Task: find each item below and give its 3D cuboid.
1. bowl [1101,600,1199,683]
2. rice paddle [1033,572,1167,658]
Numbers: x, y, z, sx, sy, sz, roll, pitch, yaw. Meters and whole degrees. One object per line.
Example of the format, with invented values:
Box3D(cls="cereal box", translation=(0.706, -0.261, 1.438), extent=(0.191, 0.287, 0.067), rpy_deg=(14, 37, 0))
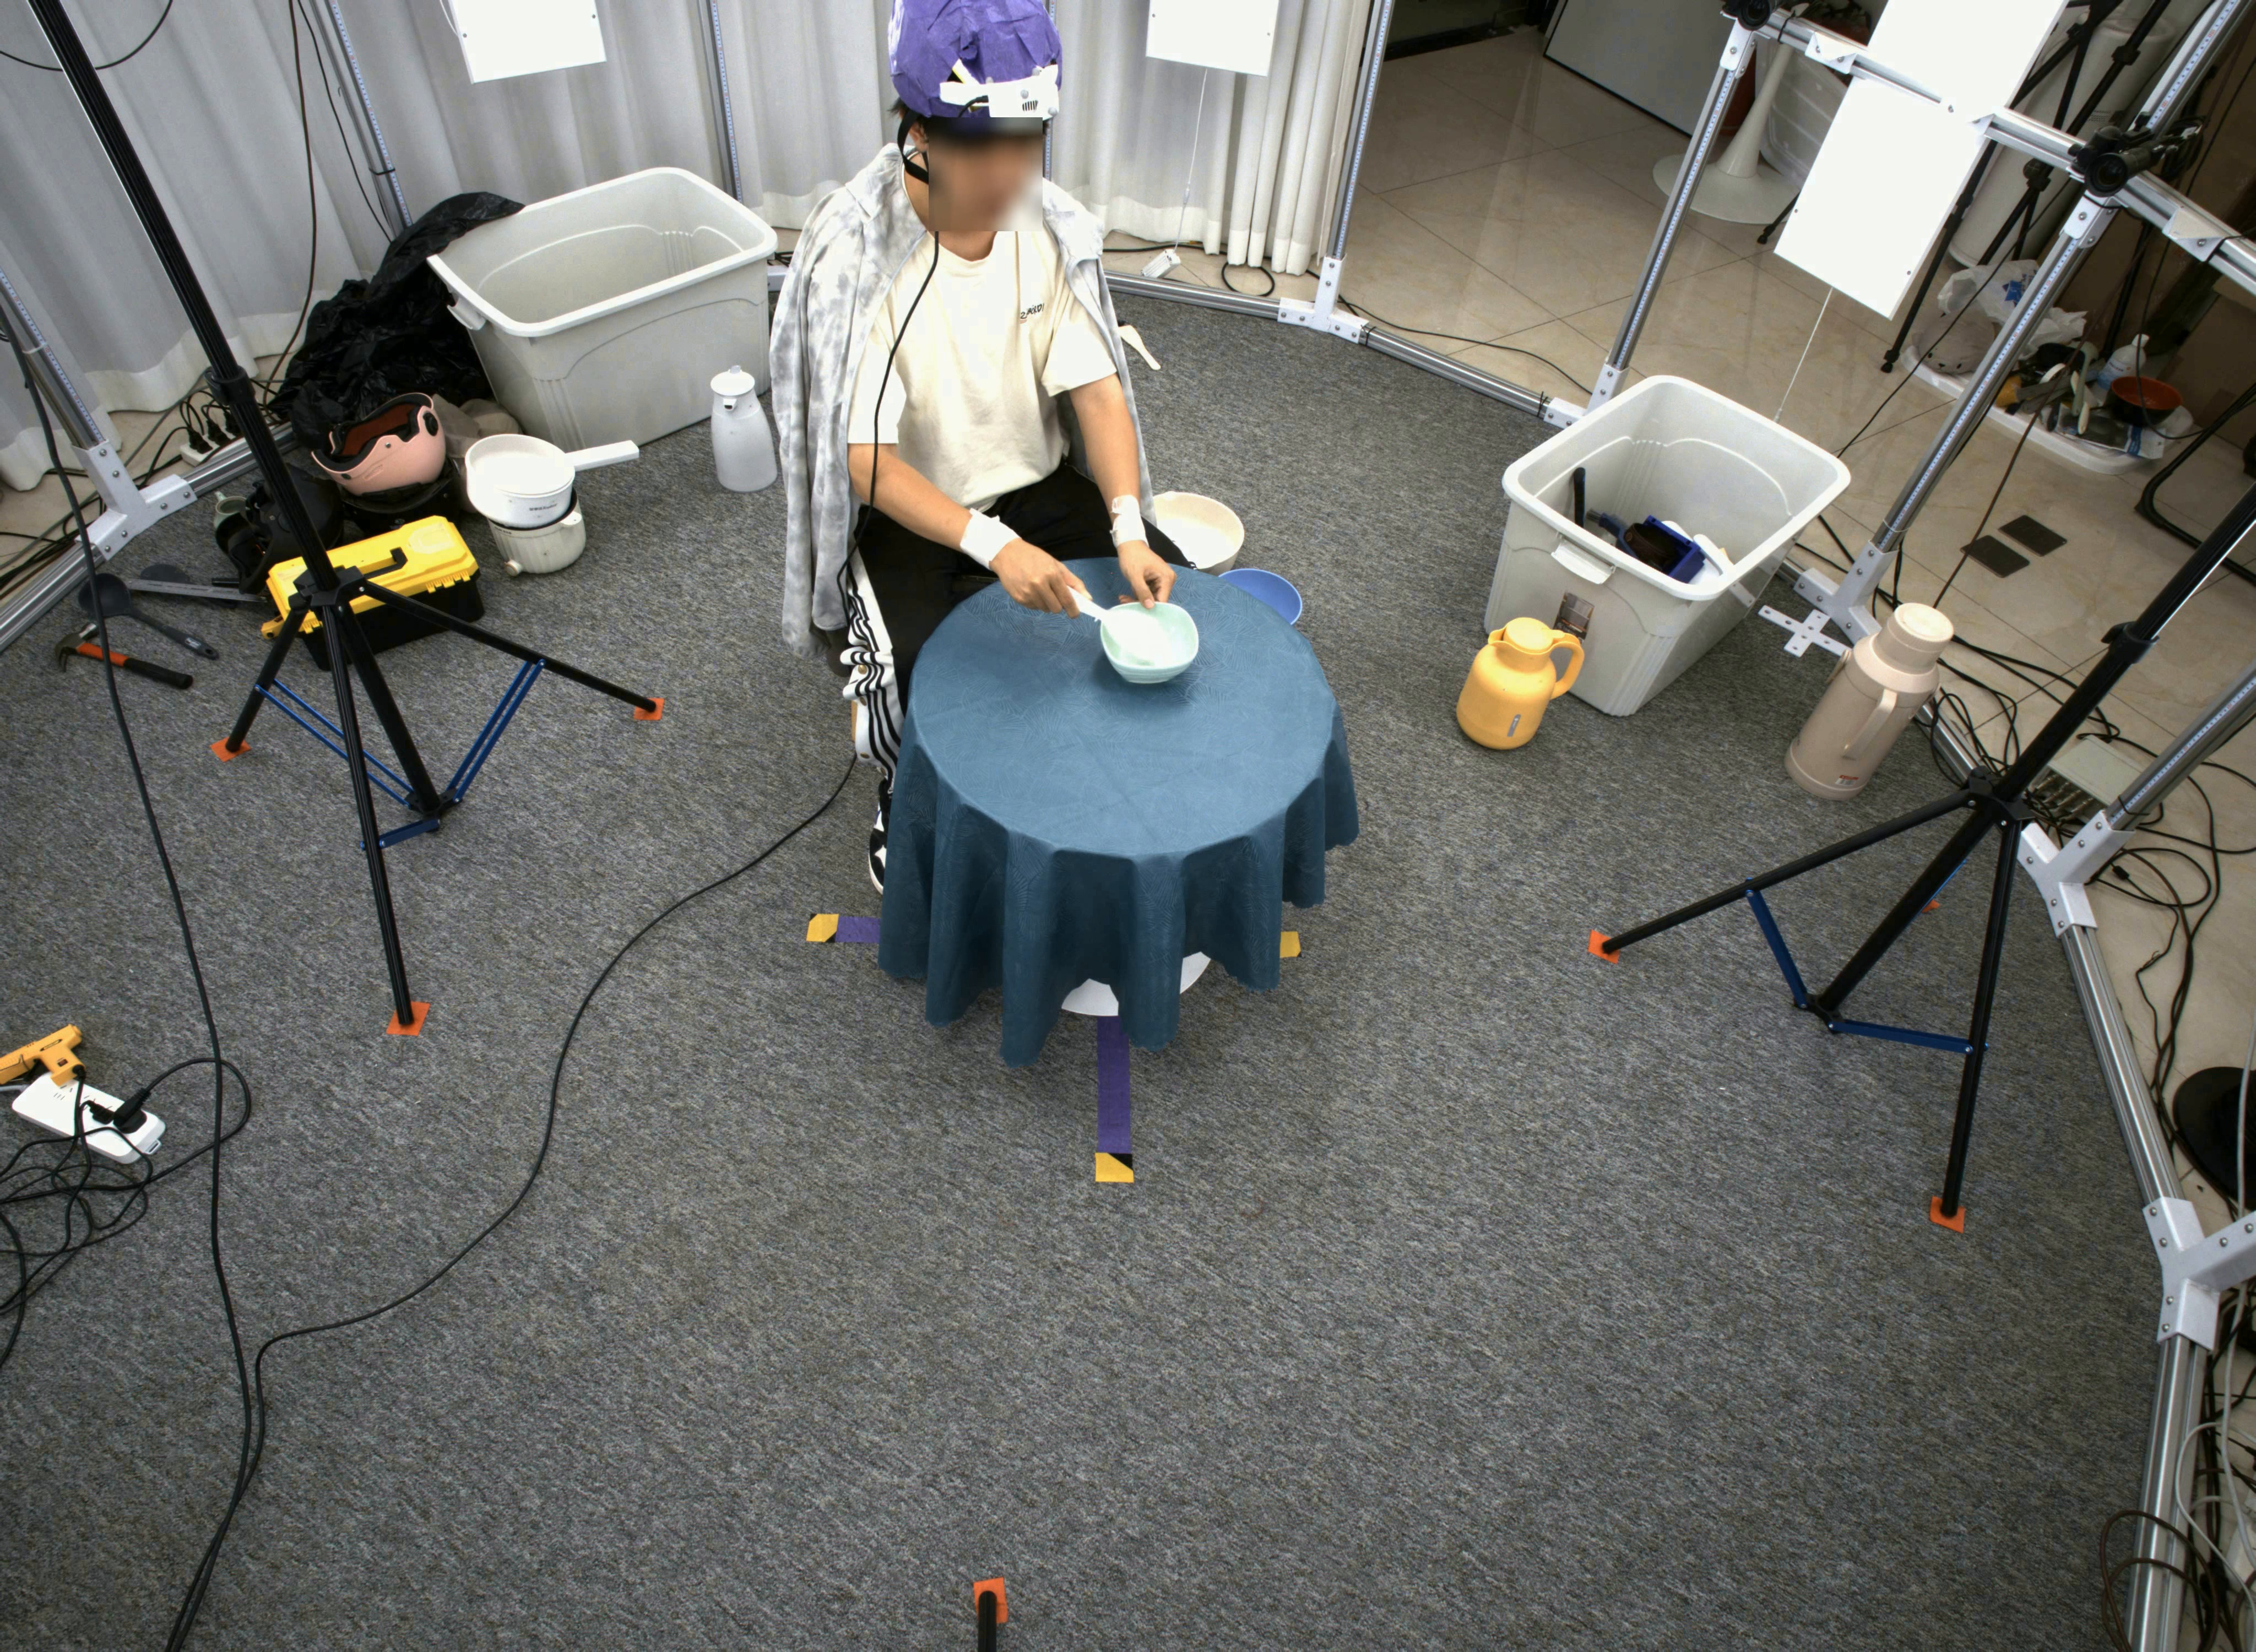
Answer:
Box3D(cls="bowl", translation=(0.030, -0.257, 1.849), extent=(0.151, 0.057, 0.155), rpy_deg=(1, 51, -2))
Box3D(cls="rice paddle", translation=(-0.035, -0.297, 1.806), extent=(0.204, 0.029, 0.070), rpy_deg=(26, 63, -10))
